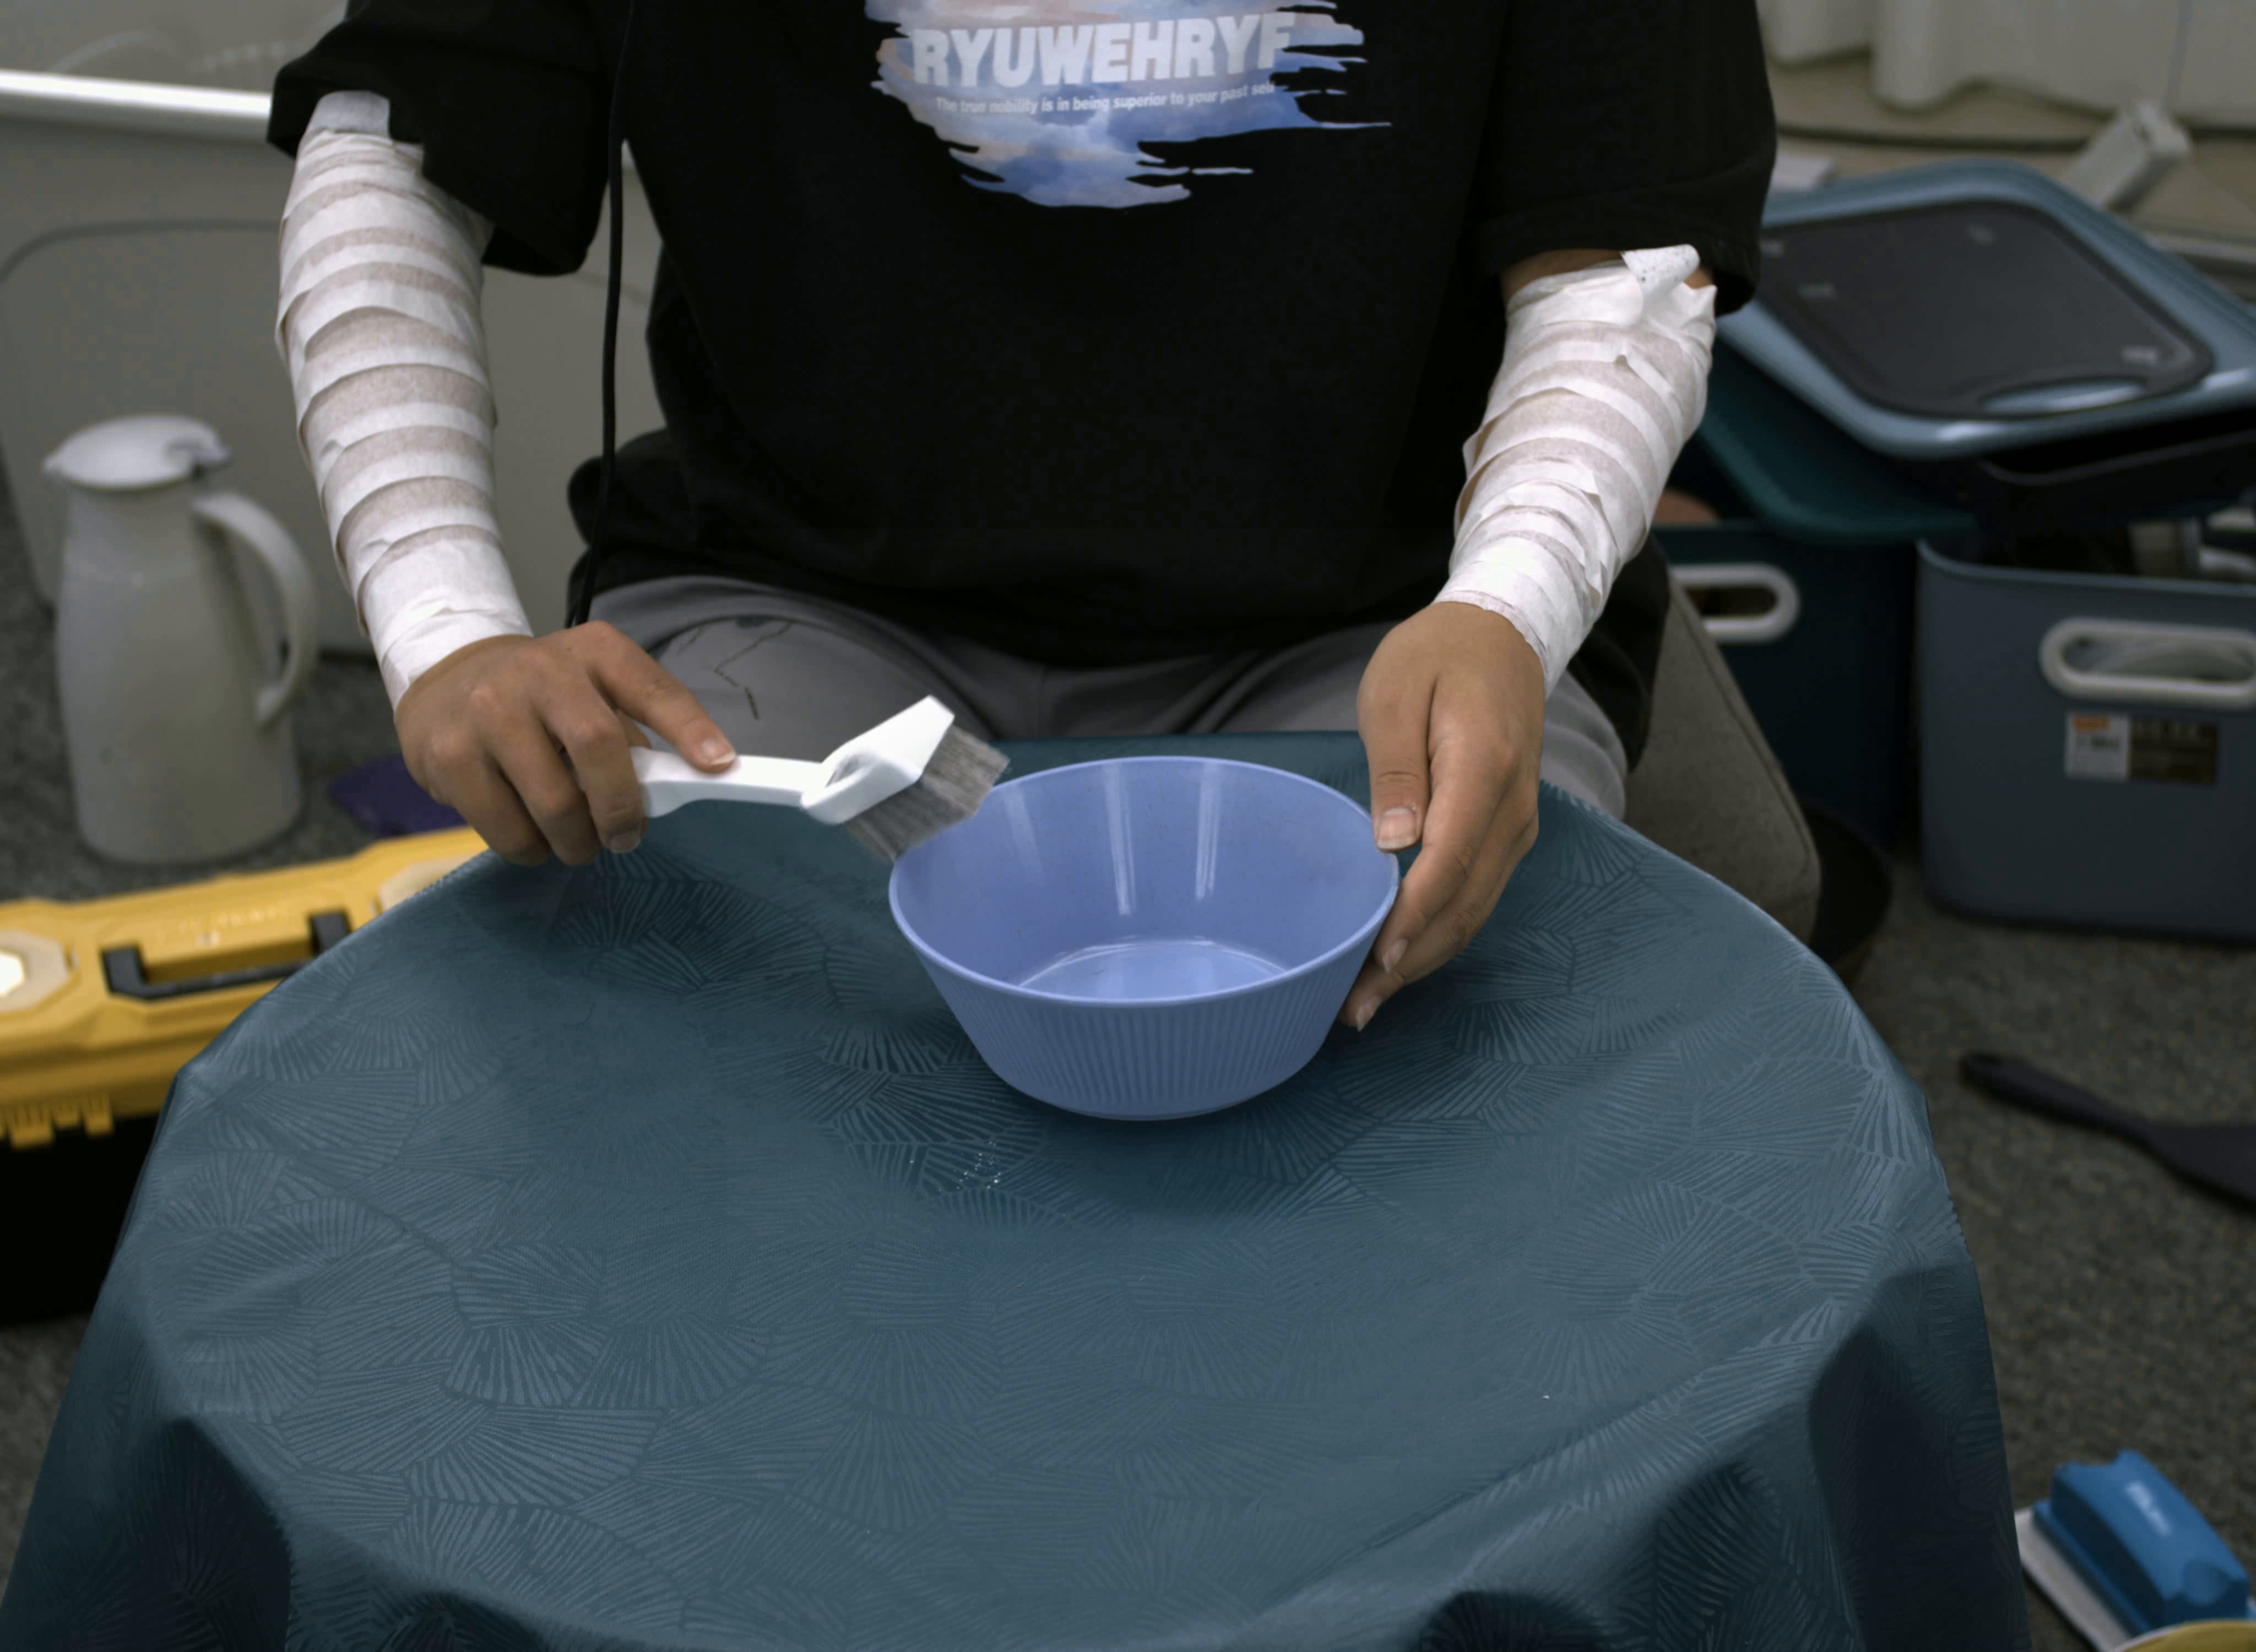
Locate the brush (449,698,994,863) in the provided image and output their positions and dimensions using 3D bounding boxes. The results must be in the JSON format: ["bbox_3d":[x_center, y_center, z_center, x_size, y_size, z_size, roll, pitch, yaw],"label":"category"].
[{"bbox_3d":[-0.145,-0.006,1.988,0.241,0.050,0.035,-8,40,40],"label":"brush"}]

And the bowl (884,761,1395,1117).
[{"bbox_3d":[0.005,0.044,1.934,0.175,0.069,0.179,-2,27,1],"label":"bowl"}]
